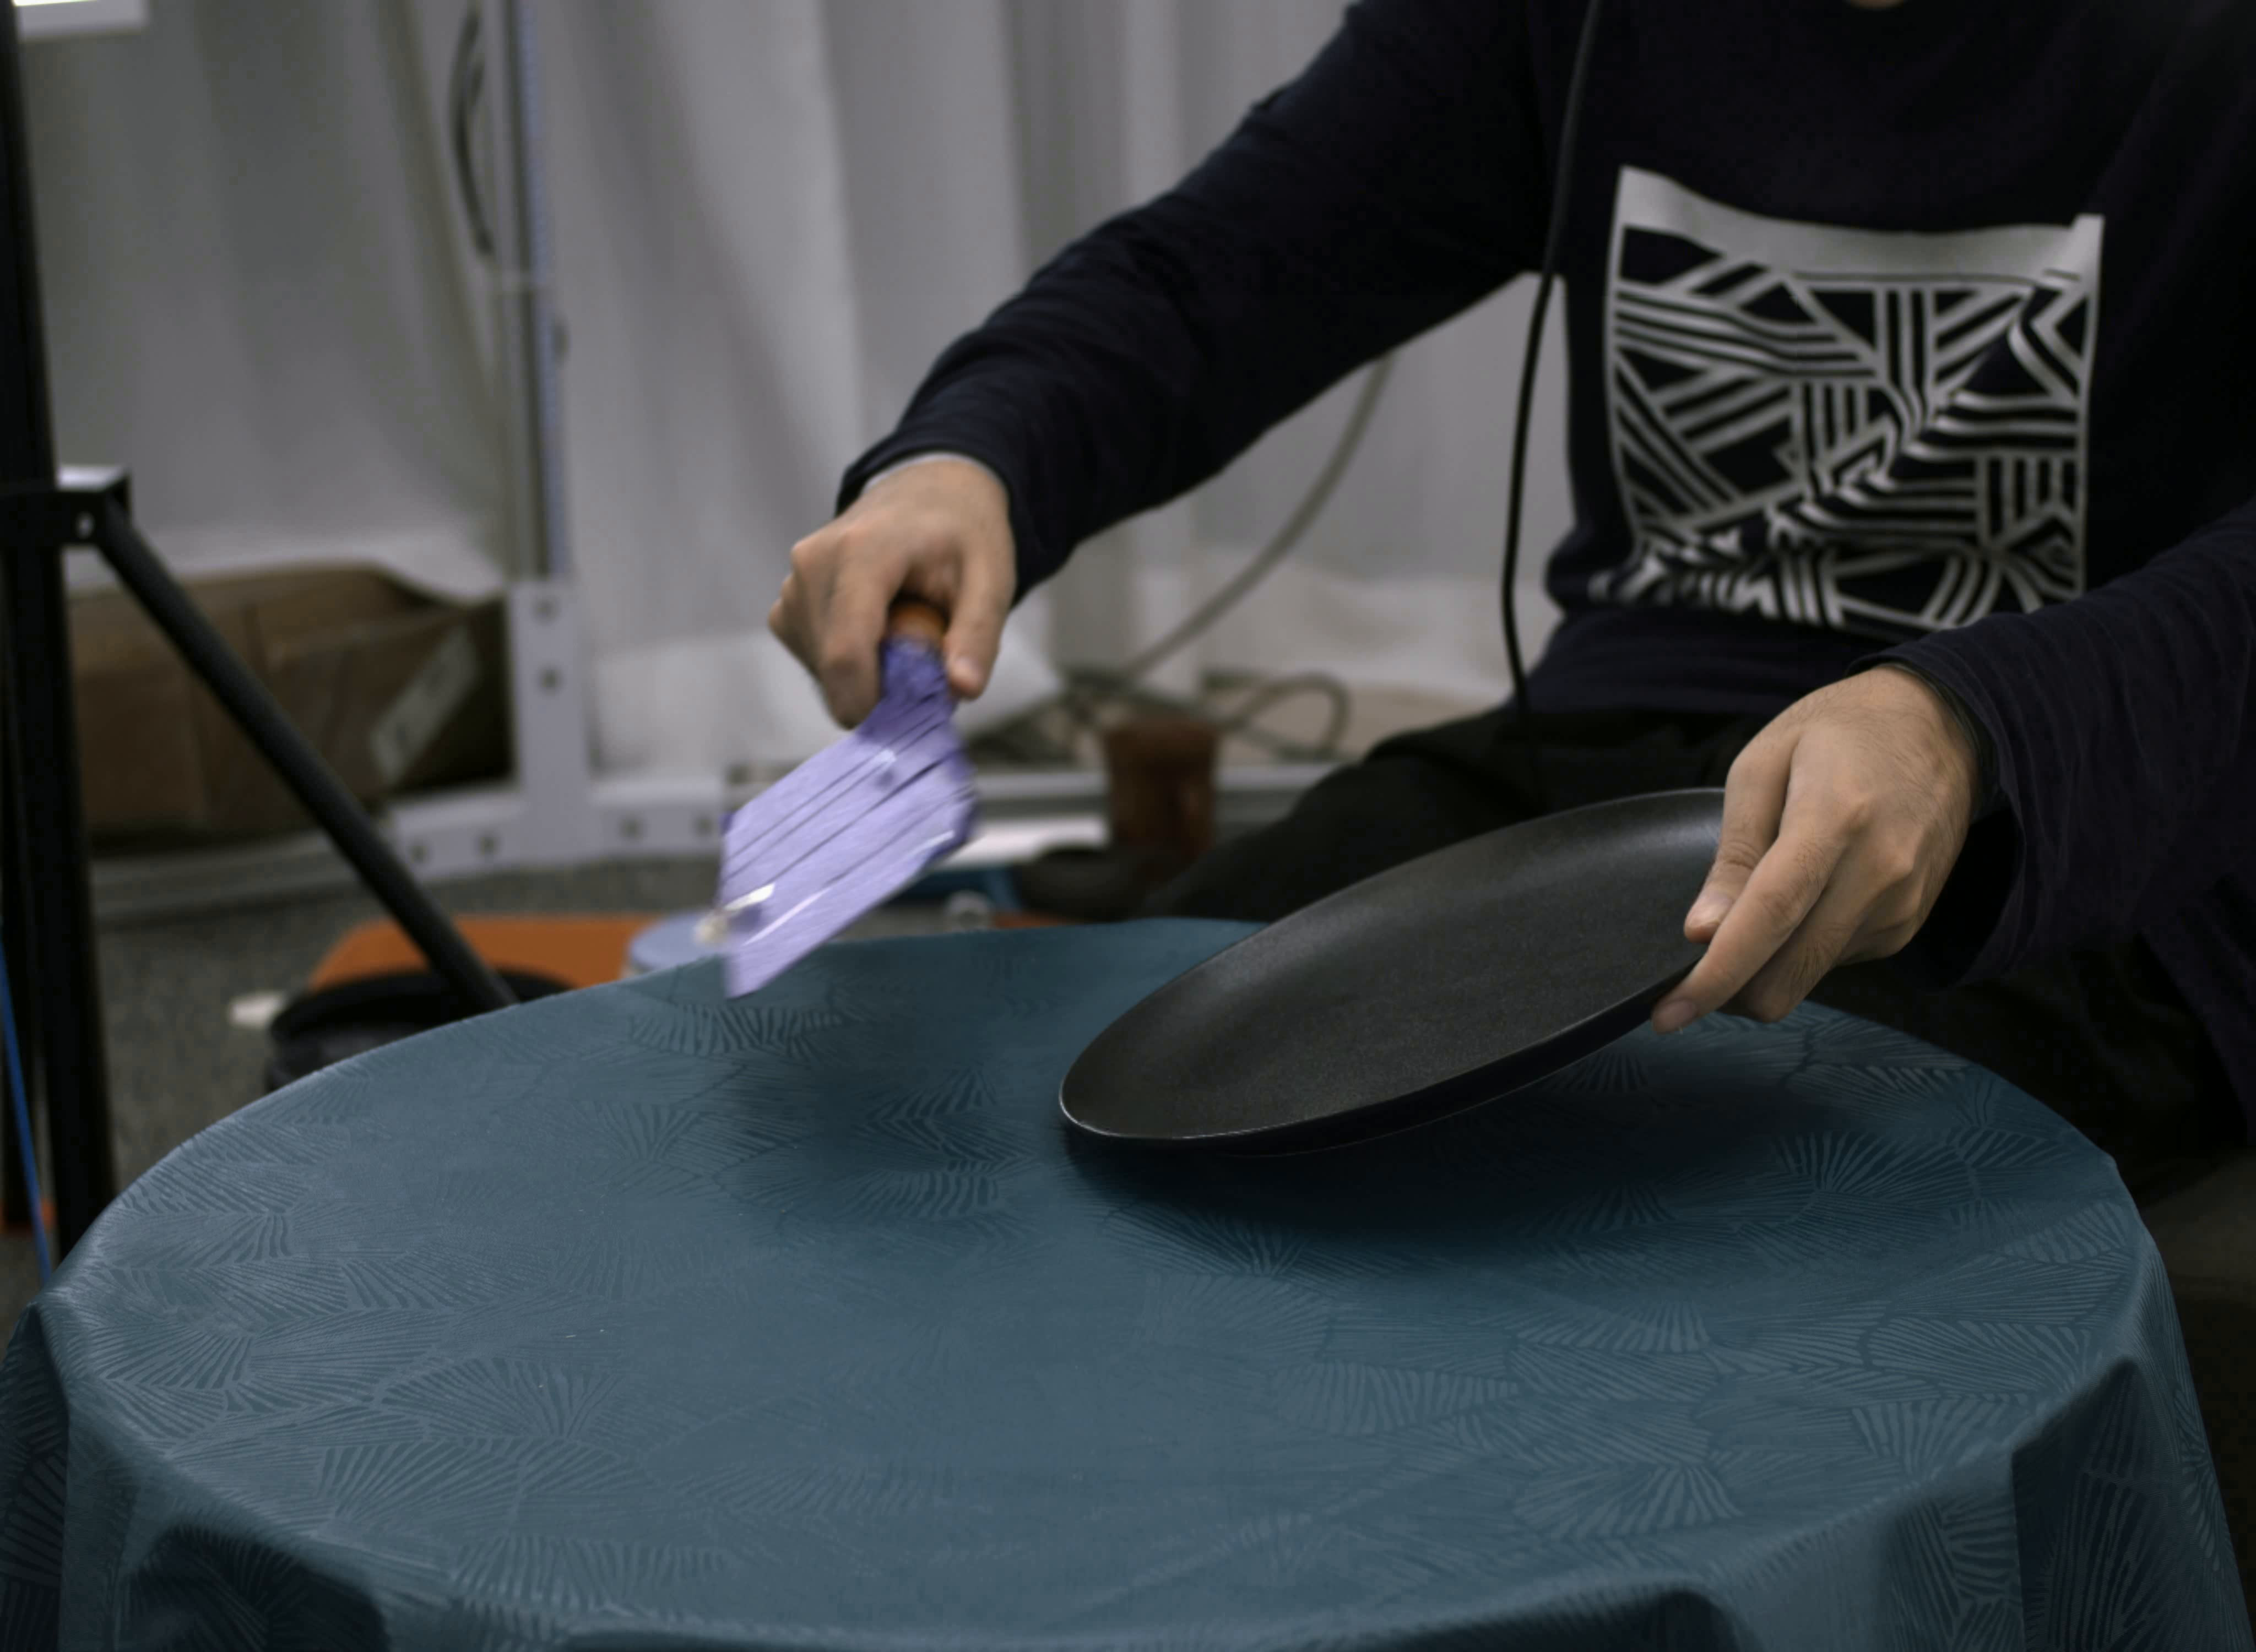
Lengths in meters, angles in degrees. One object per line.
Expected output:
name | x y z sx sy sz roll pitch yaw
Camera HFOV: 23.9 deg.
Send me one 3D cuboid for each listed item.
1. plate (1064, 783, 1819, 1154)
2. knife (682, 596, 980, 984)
plate | 0.096 0.049 1.606 0.244 0.023 0.245 -22 13 3
knife | -0.098 -0.015 1.719 0.104 0.032 0.317 -34 13 5
